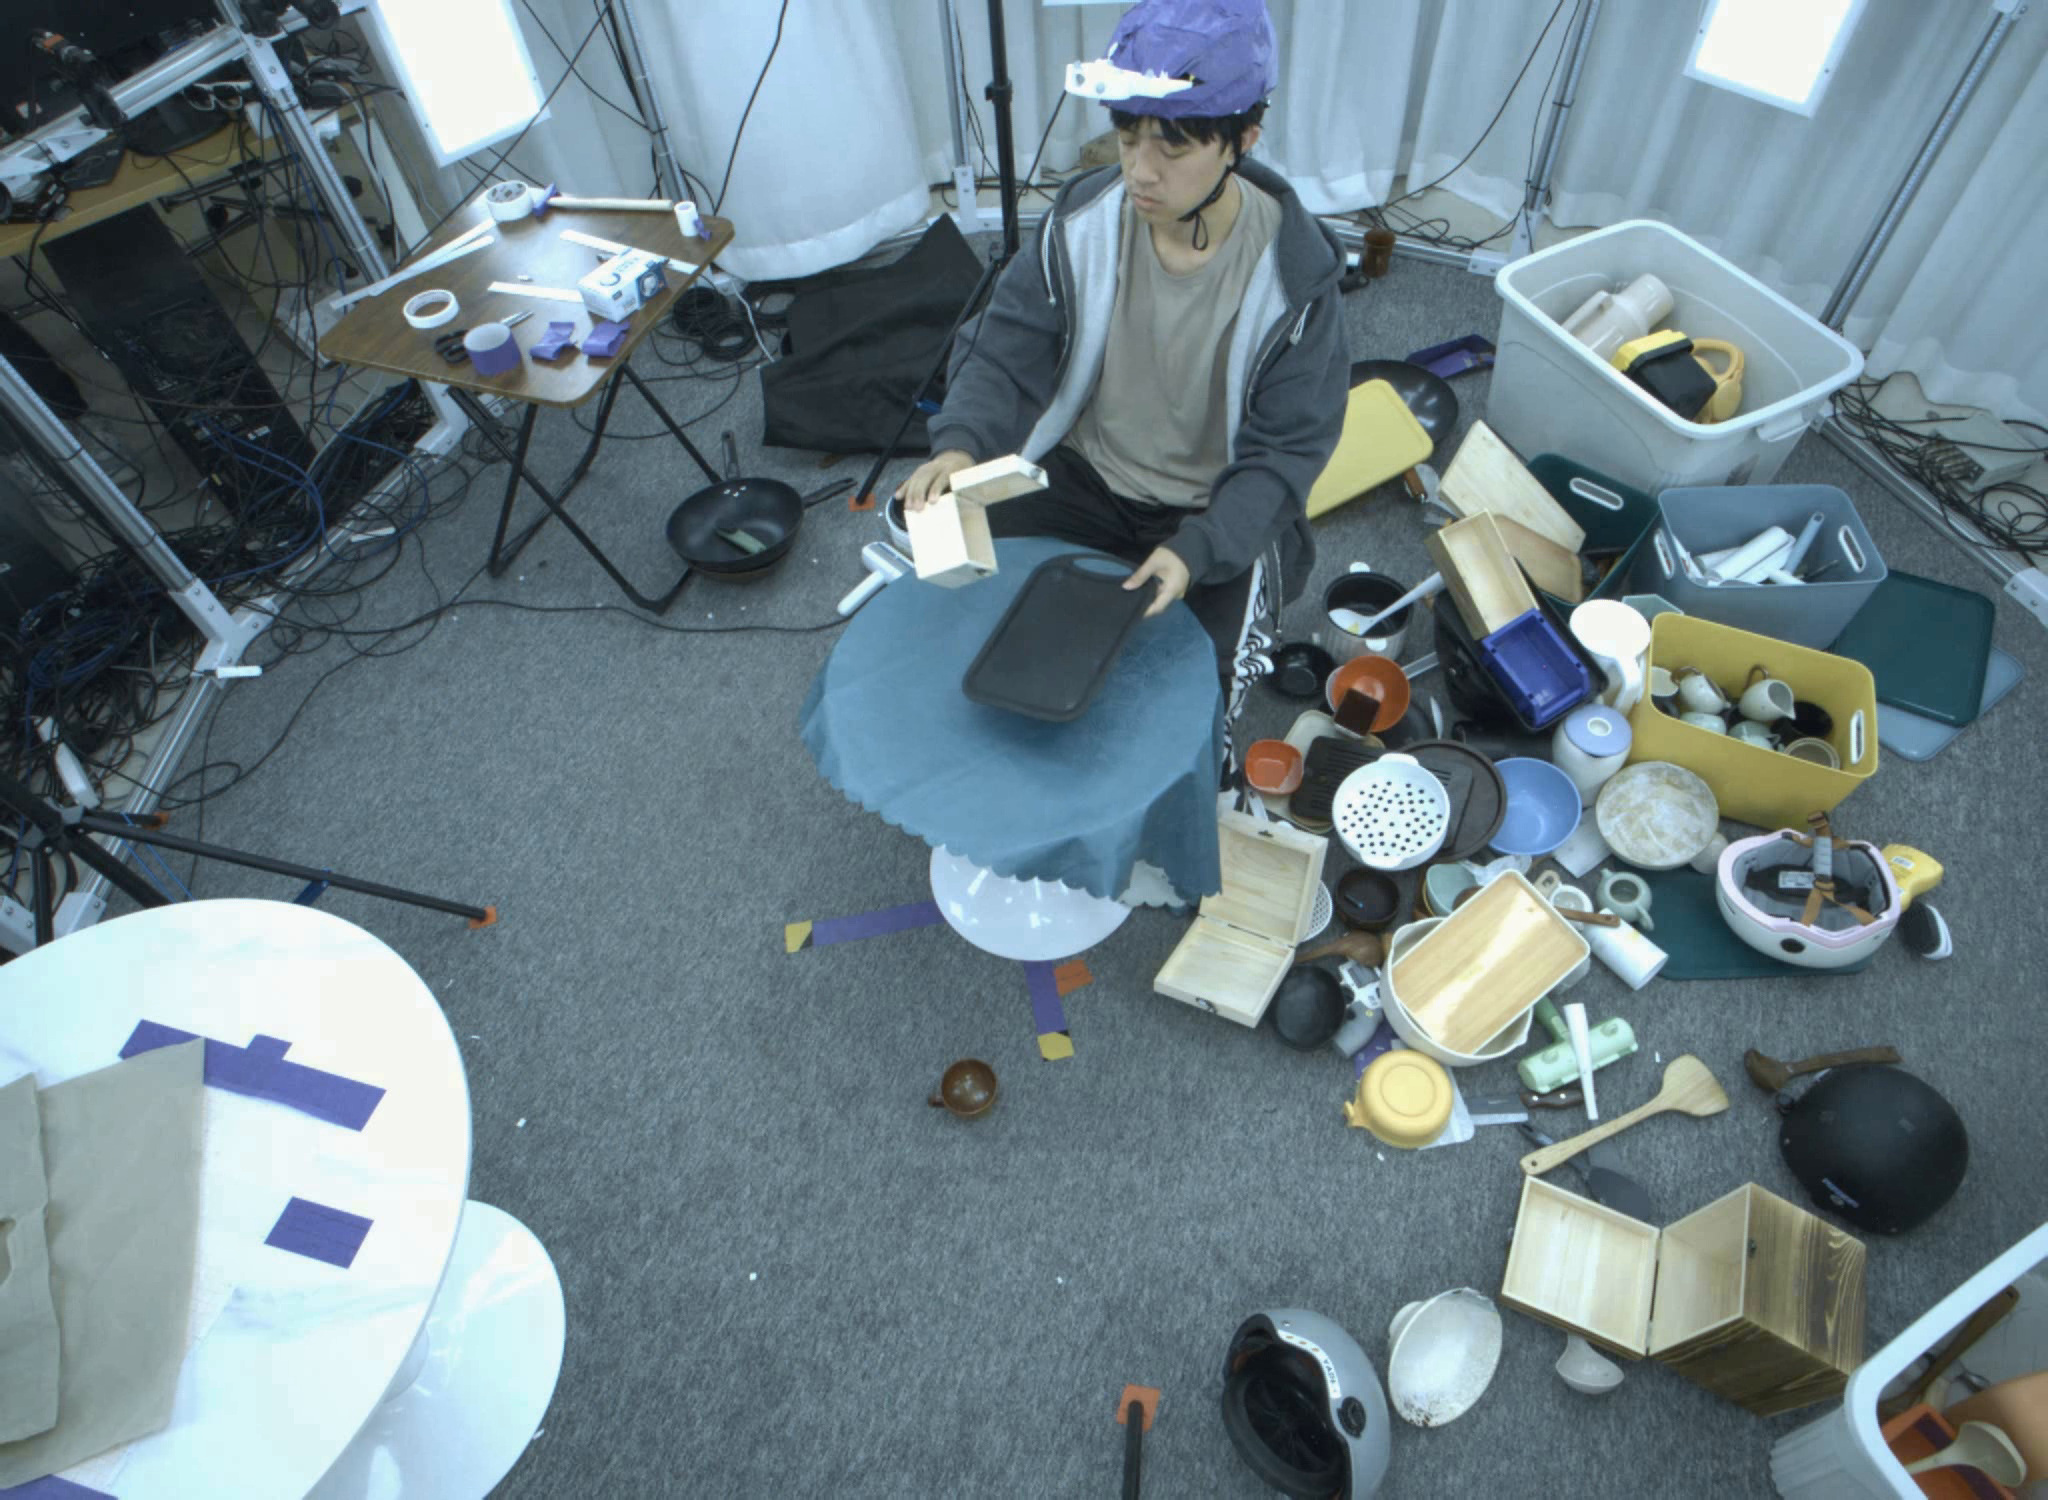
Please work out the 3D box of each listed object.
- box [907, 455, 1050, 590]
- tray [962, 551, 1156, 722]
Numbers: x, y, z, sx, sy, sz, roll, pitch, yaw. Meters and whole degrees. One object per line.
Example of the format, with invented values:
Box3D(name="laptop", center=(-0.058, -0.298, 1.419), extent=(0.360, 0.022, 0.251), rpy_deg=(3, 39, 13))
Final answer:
Box3D(name="box", center=(-0.055, -0.311, 1.695), extent=(0.182, 0.104, 0.133), rpy_deg=(-16, 84, 23))
Box3D(name="tray", center=(0.056, -0.180, 1.811), extent=(0.207, 0.010, 0.326), rpy_deg=(17, 59, 25))
